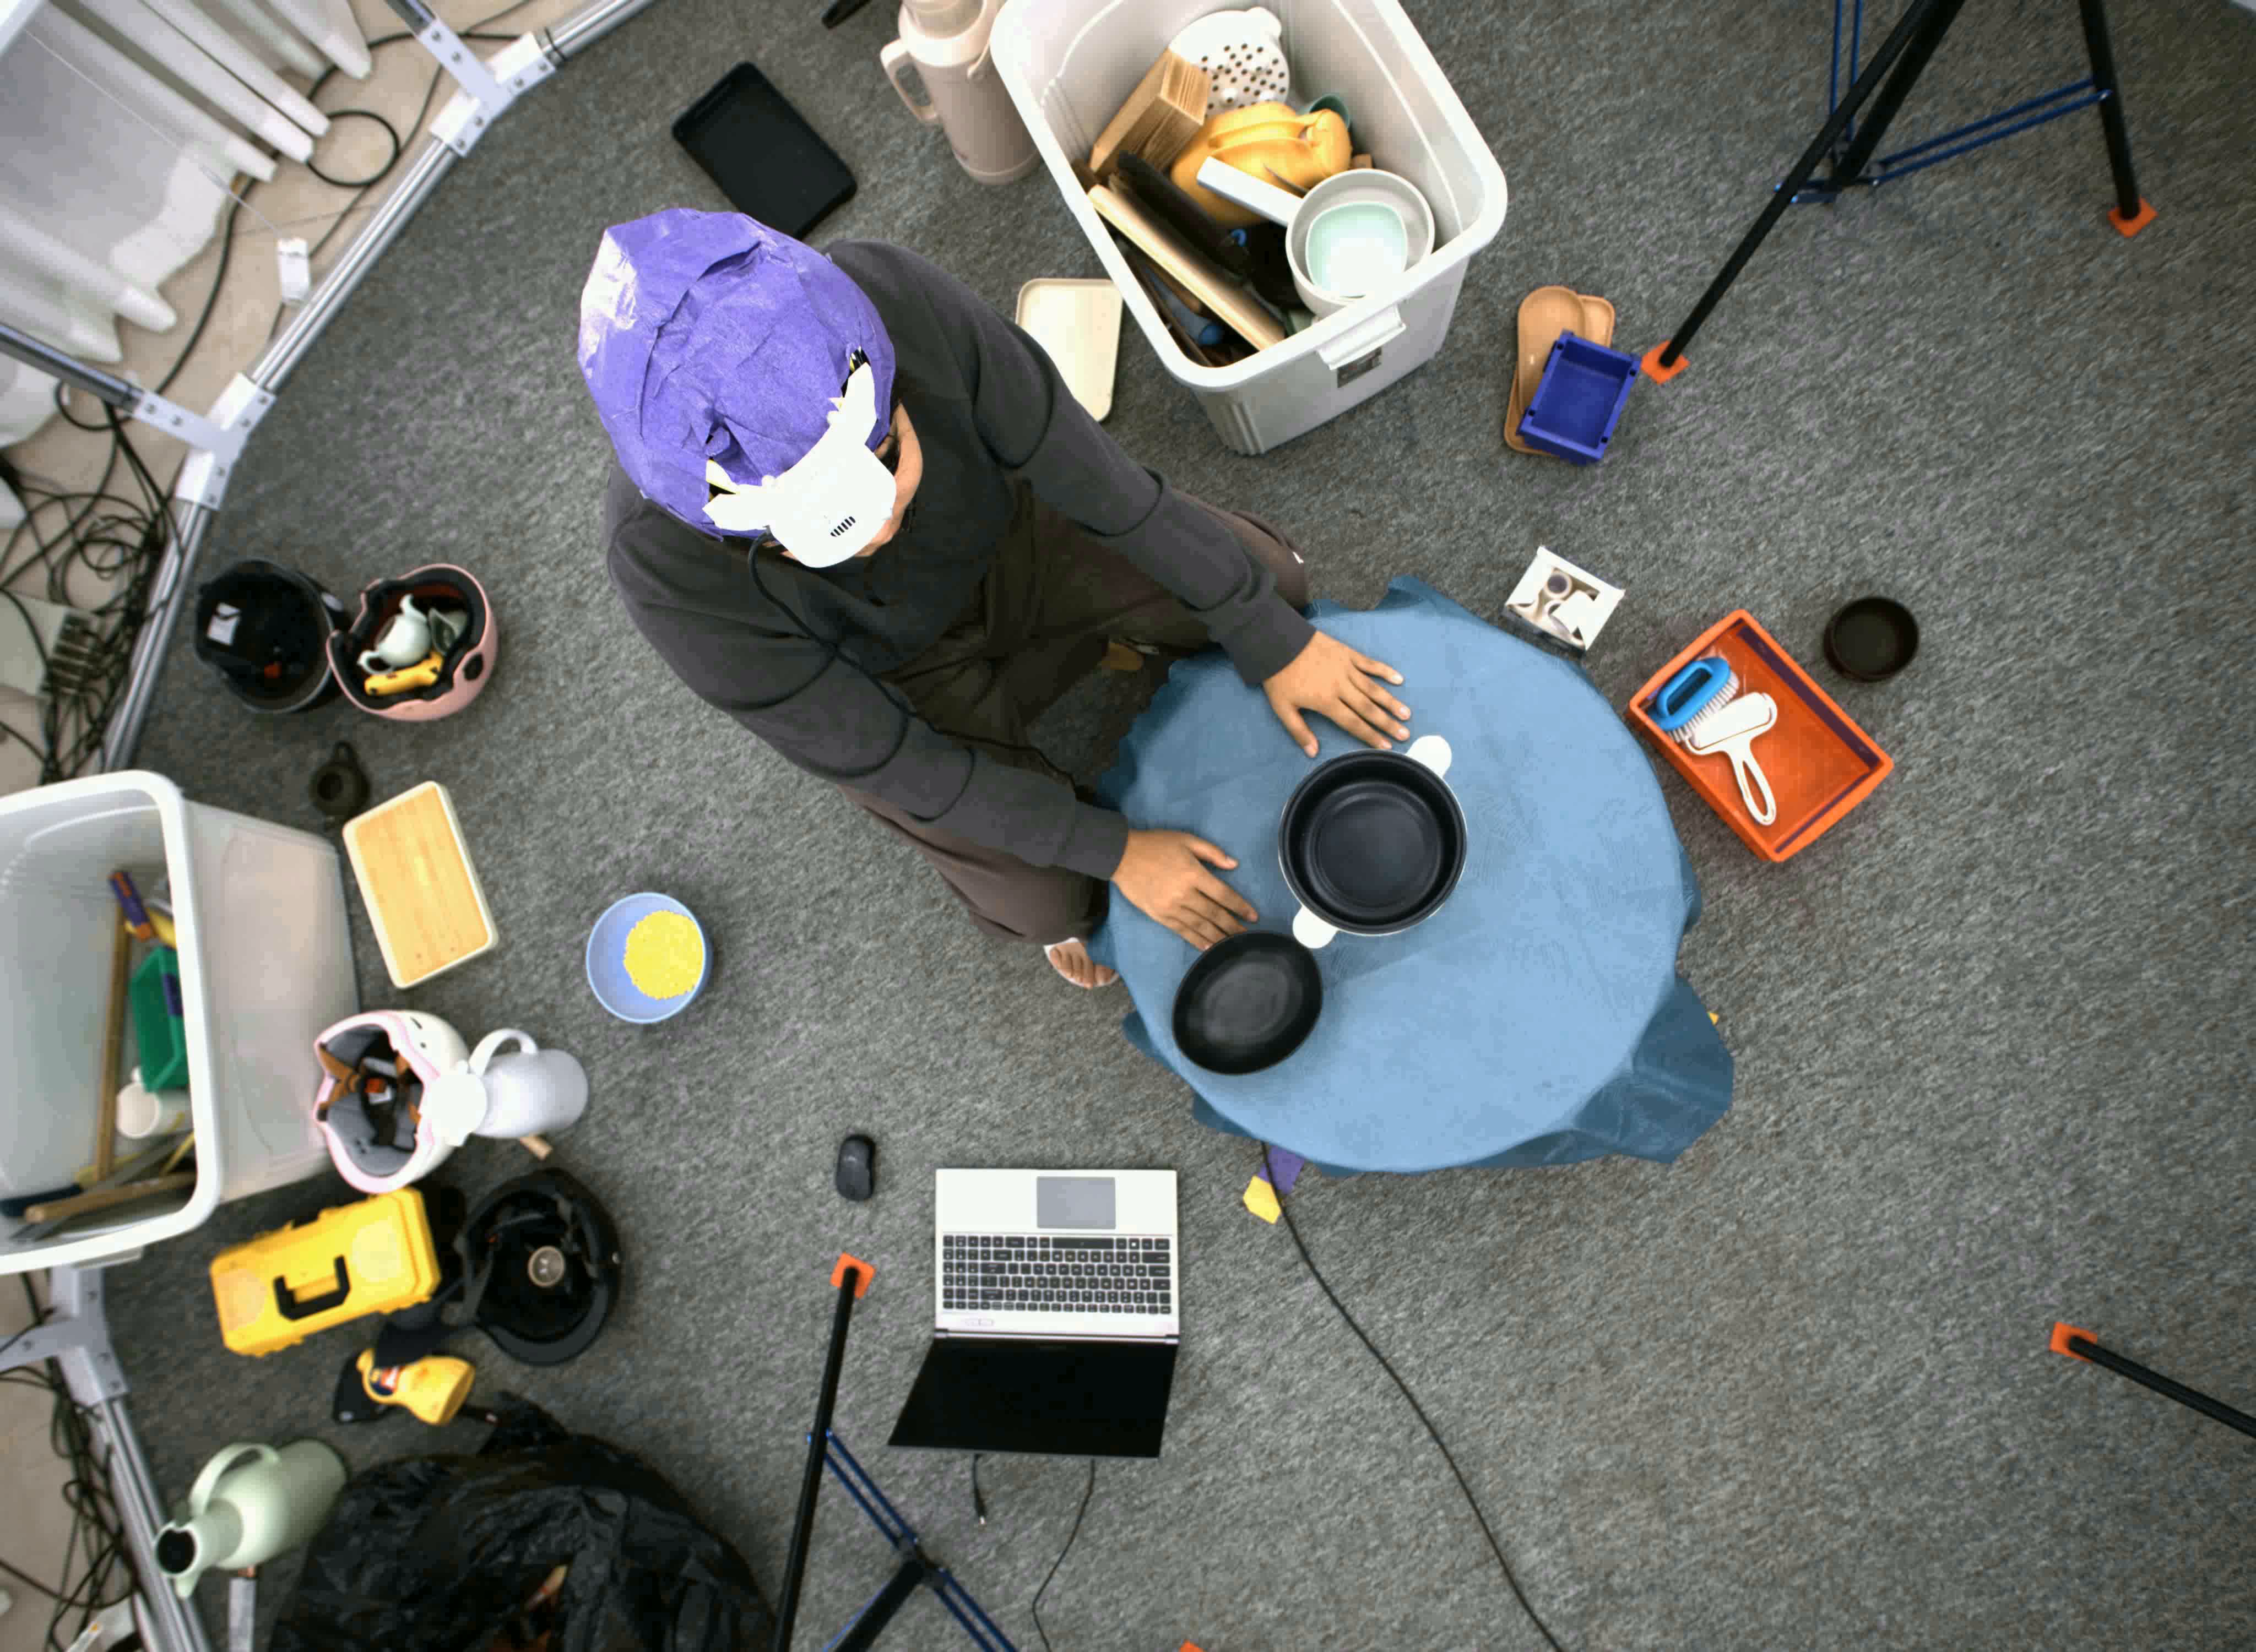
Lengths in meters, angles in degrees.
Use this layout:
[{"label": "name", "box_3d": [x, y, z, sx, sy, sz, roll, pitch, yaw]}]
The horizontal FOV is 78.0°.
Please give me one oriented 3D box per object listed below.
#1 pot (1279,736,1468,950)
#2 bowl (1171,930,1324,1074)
[{"label": "pot", "box_3d": [0.242, 0.020, 1.399, 0.190, 0.143, 0.240, 33, 91, 8]}, {"label": "bowl", "box_3d": [0.127, 0.184, 1.449, 0.171, 0.066, 0.136, -40, 80, 7]}]
